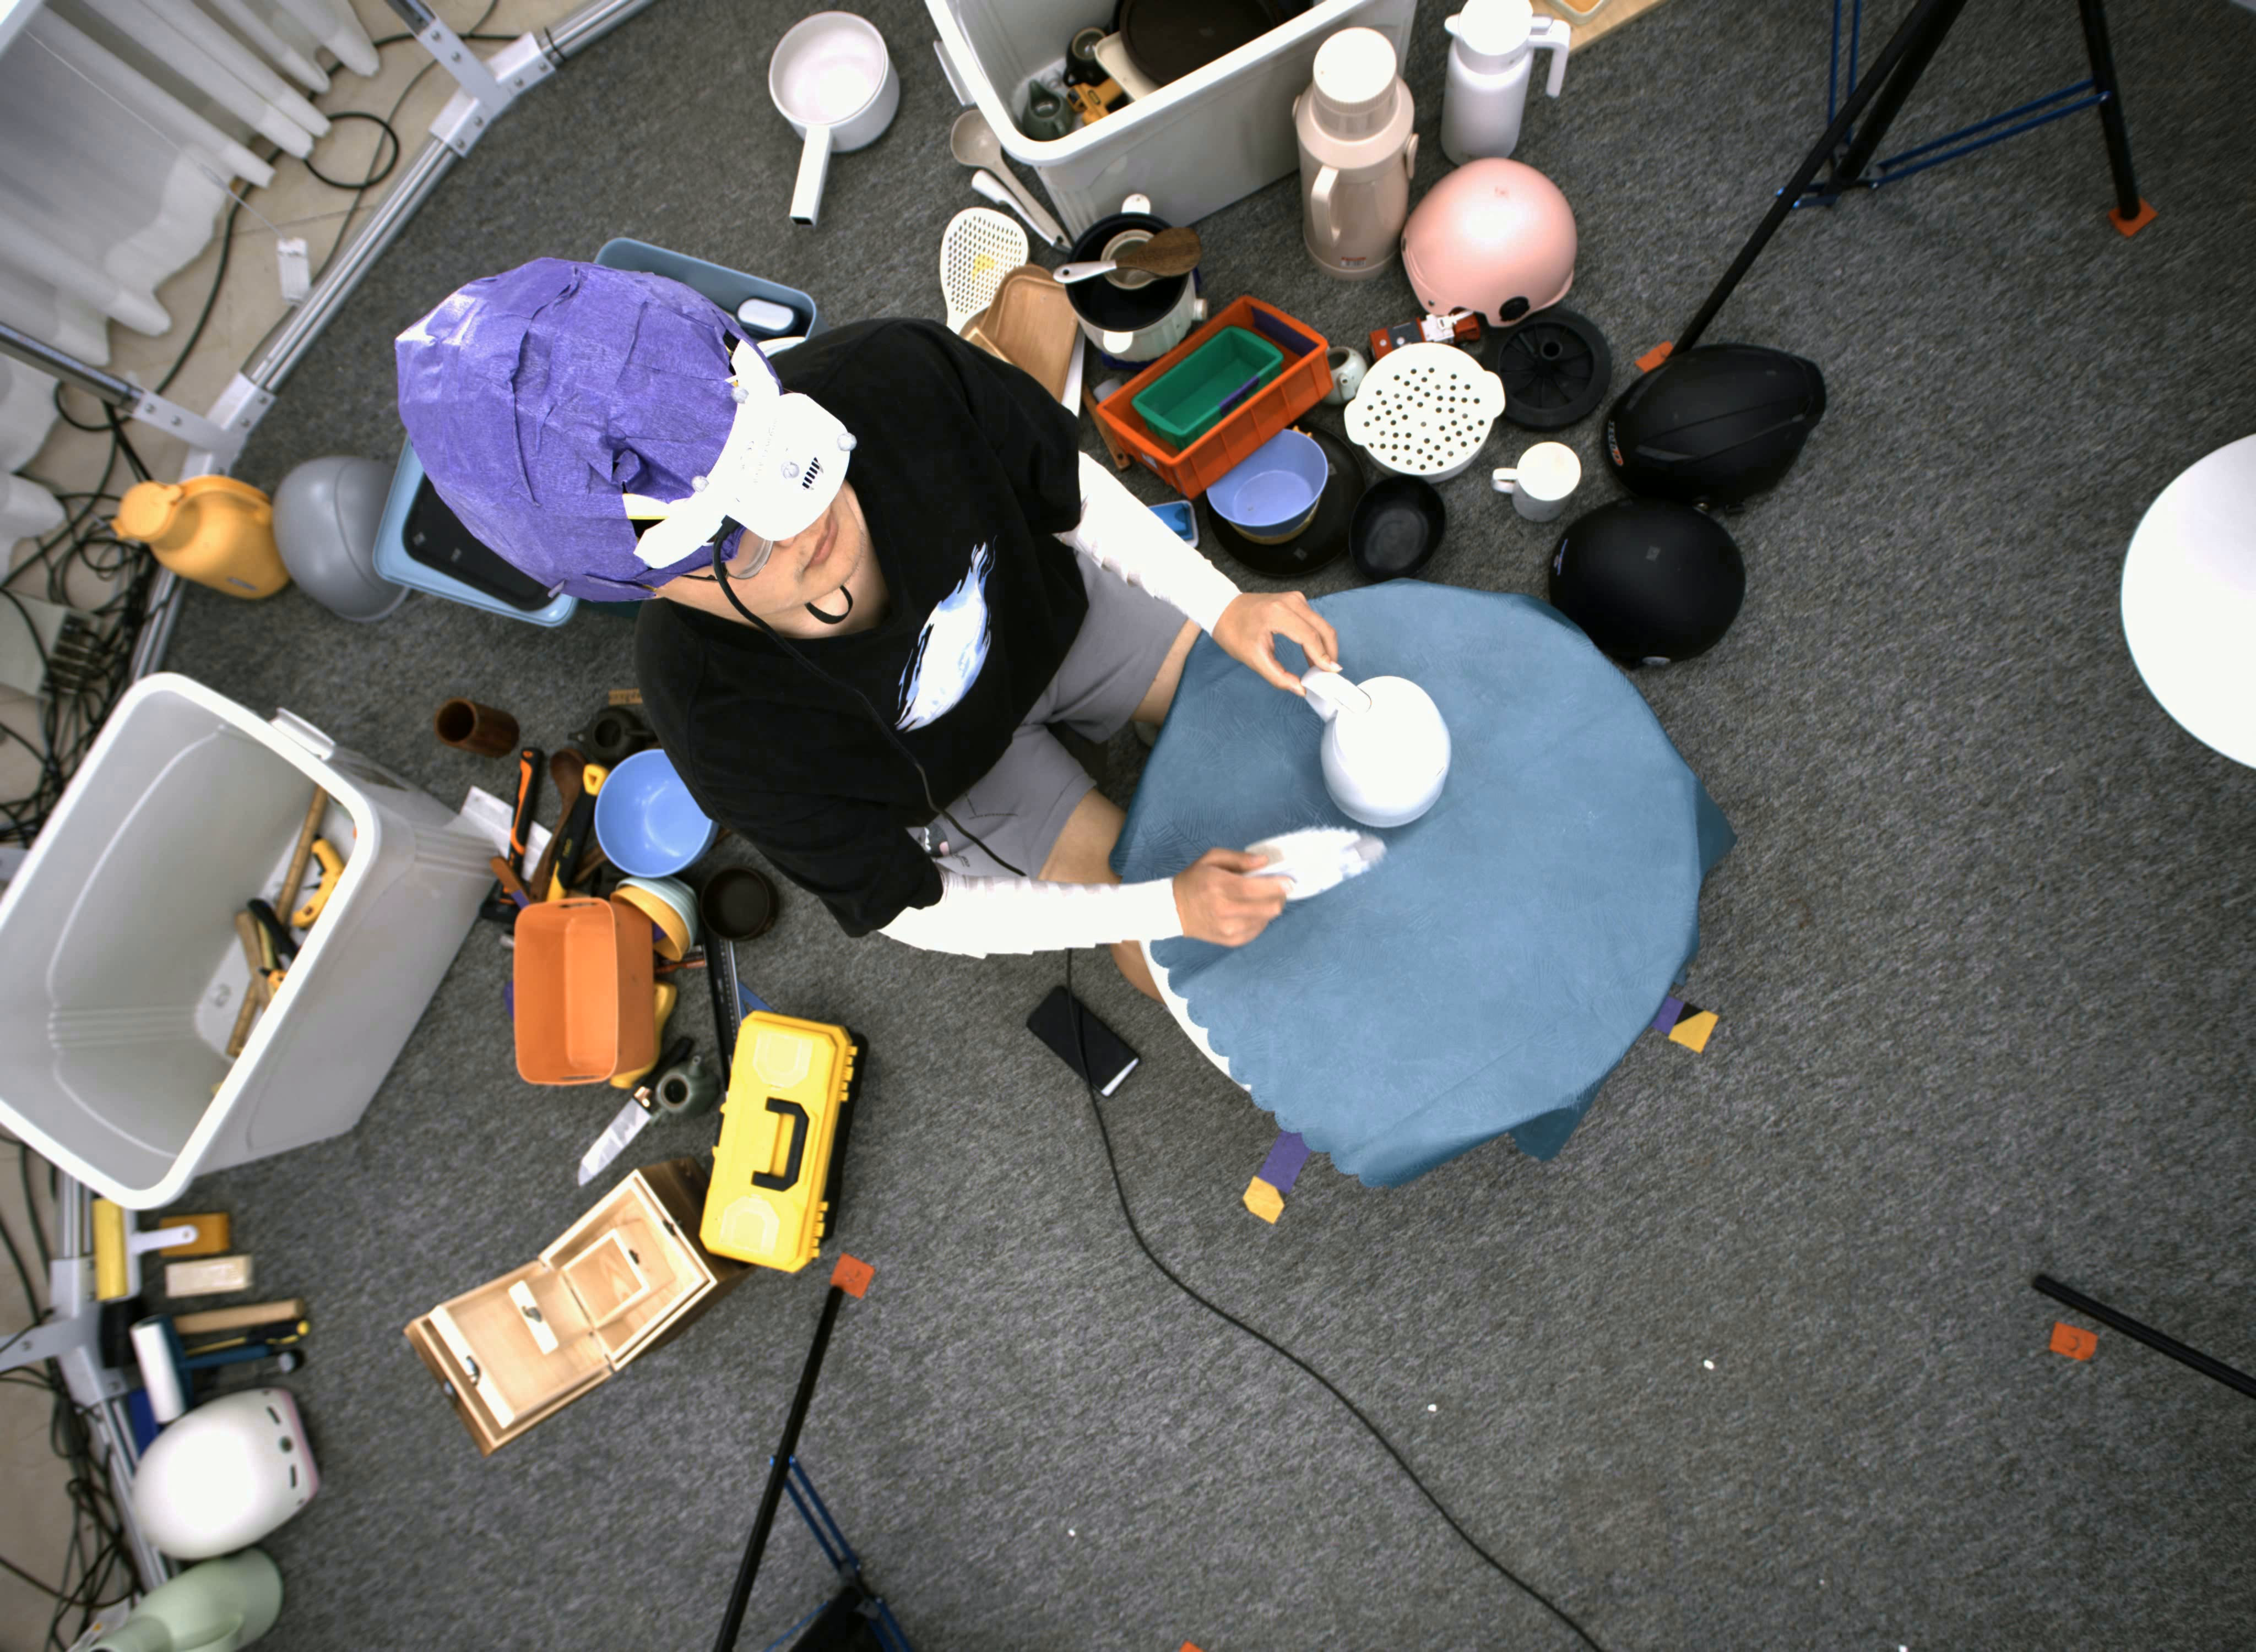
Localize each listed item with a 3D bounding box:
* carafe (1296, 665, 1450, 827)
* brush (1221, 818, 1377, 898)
[{"bbox_3d":[0.236,-0.090,1.347,0.167,0.249,0.133,40,92,11],"label":"carafe"},{"bbox_3d":[0.154,0.034,1.318,0.092,0.177,0.062,-30,97,-31],"label":"brush"}]
